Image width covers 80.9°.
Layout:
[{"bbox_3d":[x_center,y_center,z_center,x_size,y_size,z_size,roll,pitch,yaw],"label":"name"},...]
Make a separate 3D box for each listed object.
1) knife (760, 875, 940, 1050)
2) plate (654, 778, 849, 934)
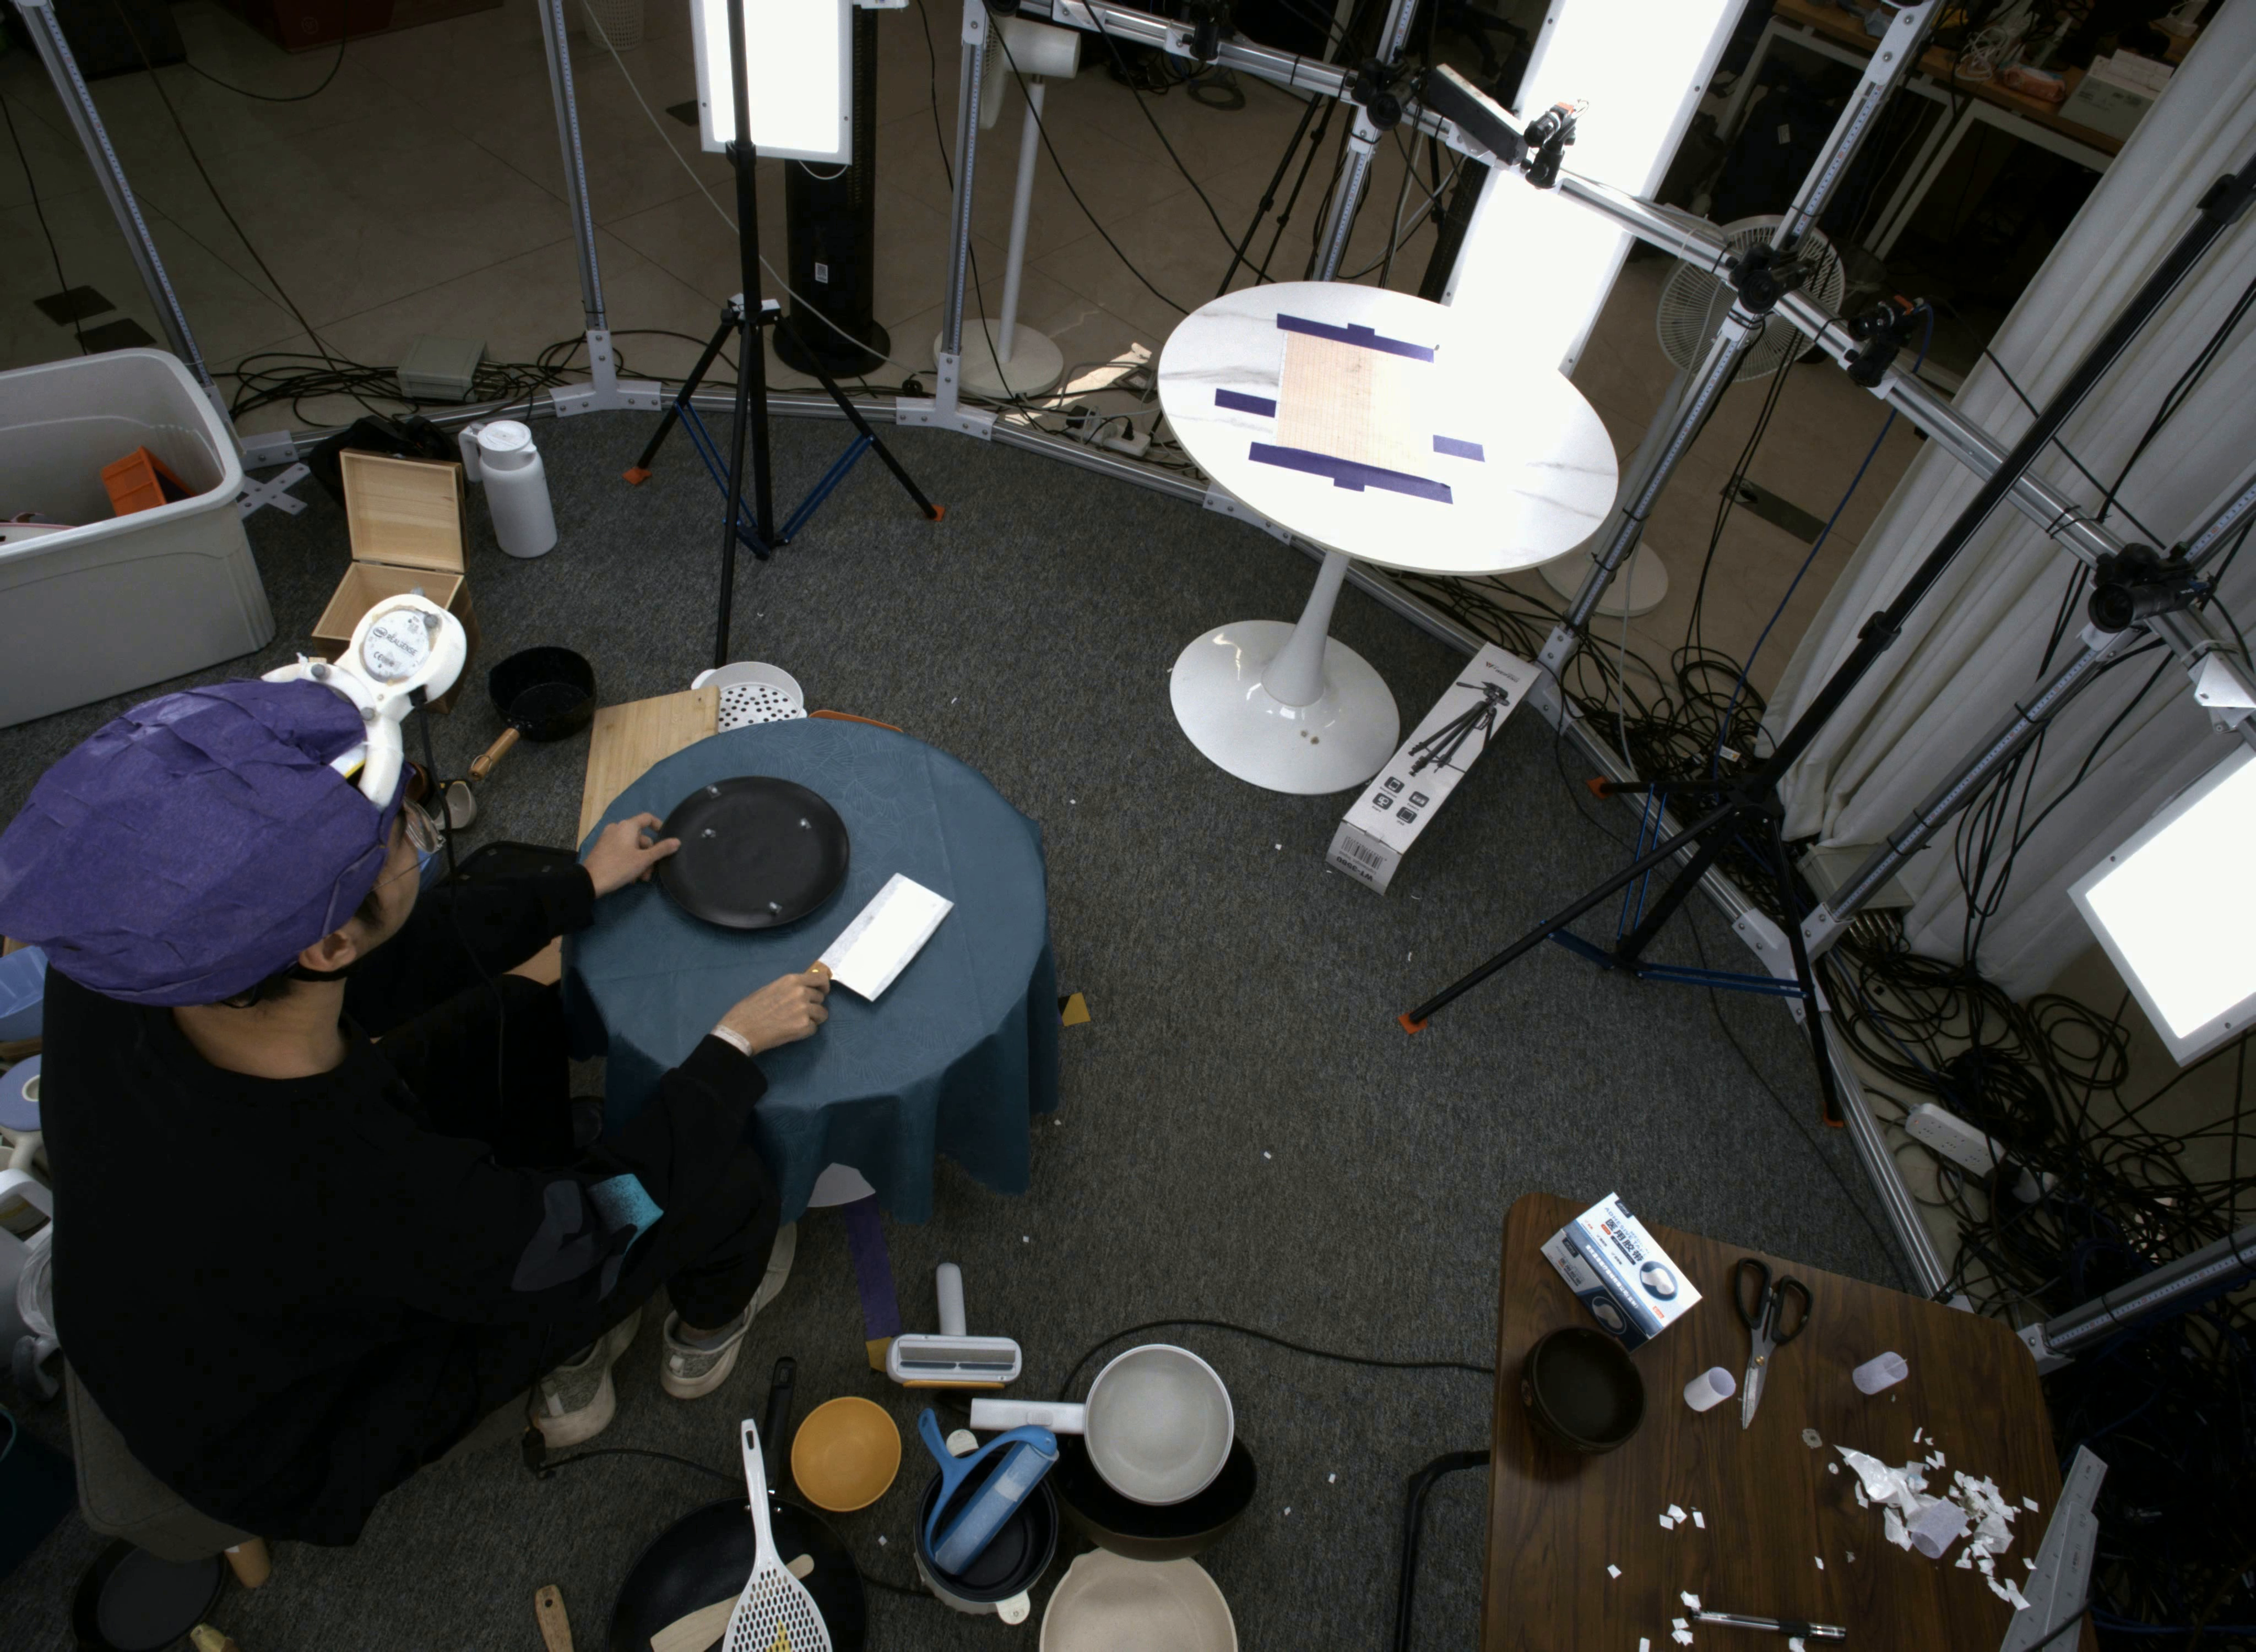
[{"bbox_3d":[-0.330,0.168,1.592,0.091,0.021,0.304,29,46,7],"label":"knife"},{"bbox_3d":[-0.480,0.037,1.654,0.244,0.024,0.240,9,52,-10],"label":"plate"}]
